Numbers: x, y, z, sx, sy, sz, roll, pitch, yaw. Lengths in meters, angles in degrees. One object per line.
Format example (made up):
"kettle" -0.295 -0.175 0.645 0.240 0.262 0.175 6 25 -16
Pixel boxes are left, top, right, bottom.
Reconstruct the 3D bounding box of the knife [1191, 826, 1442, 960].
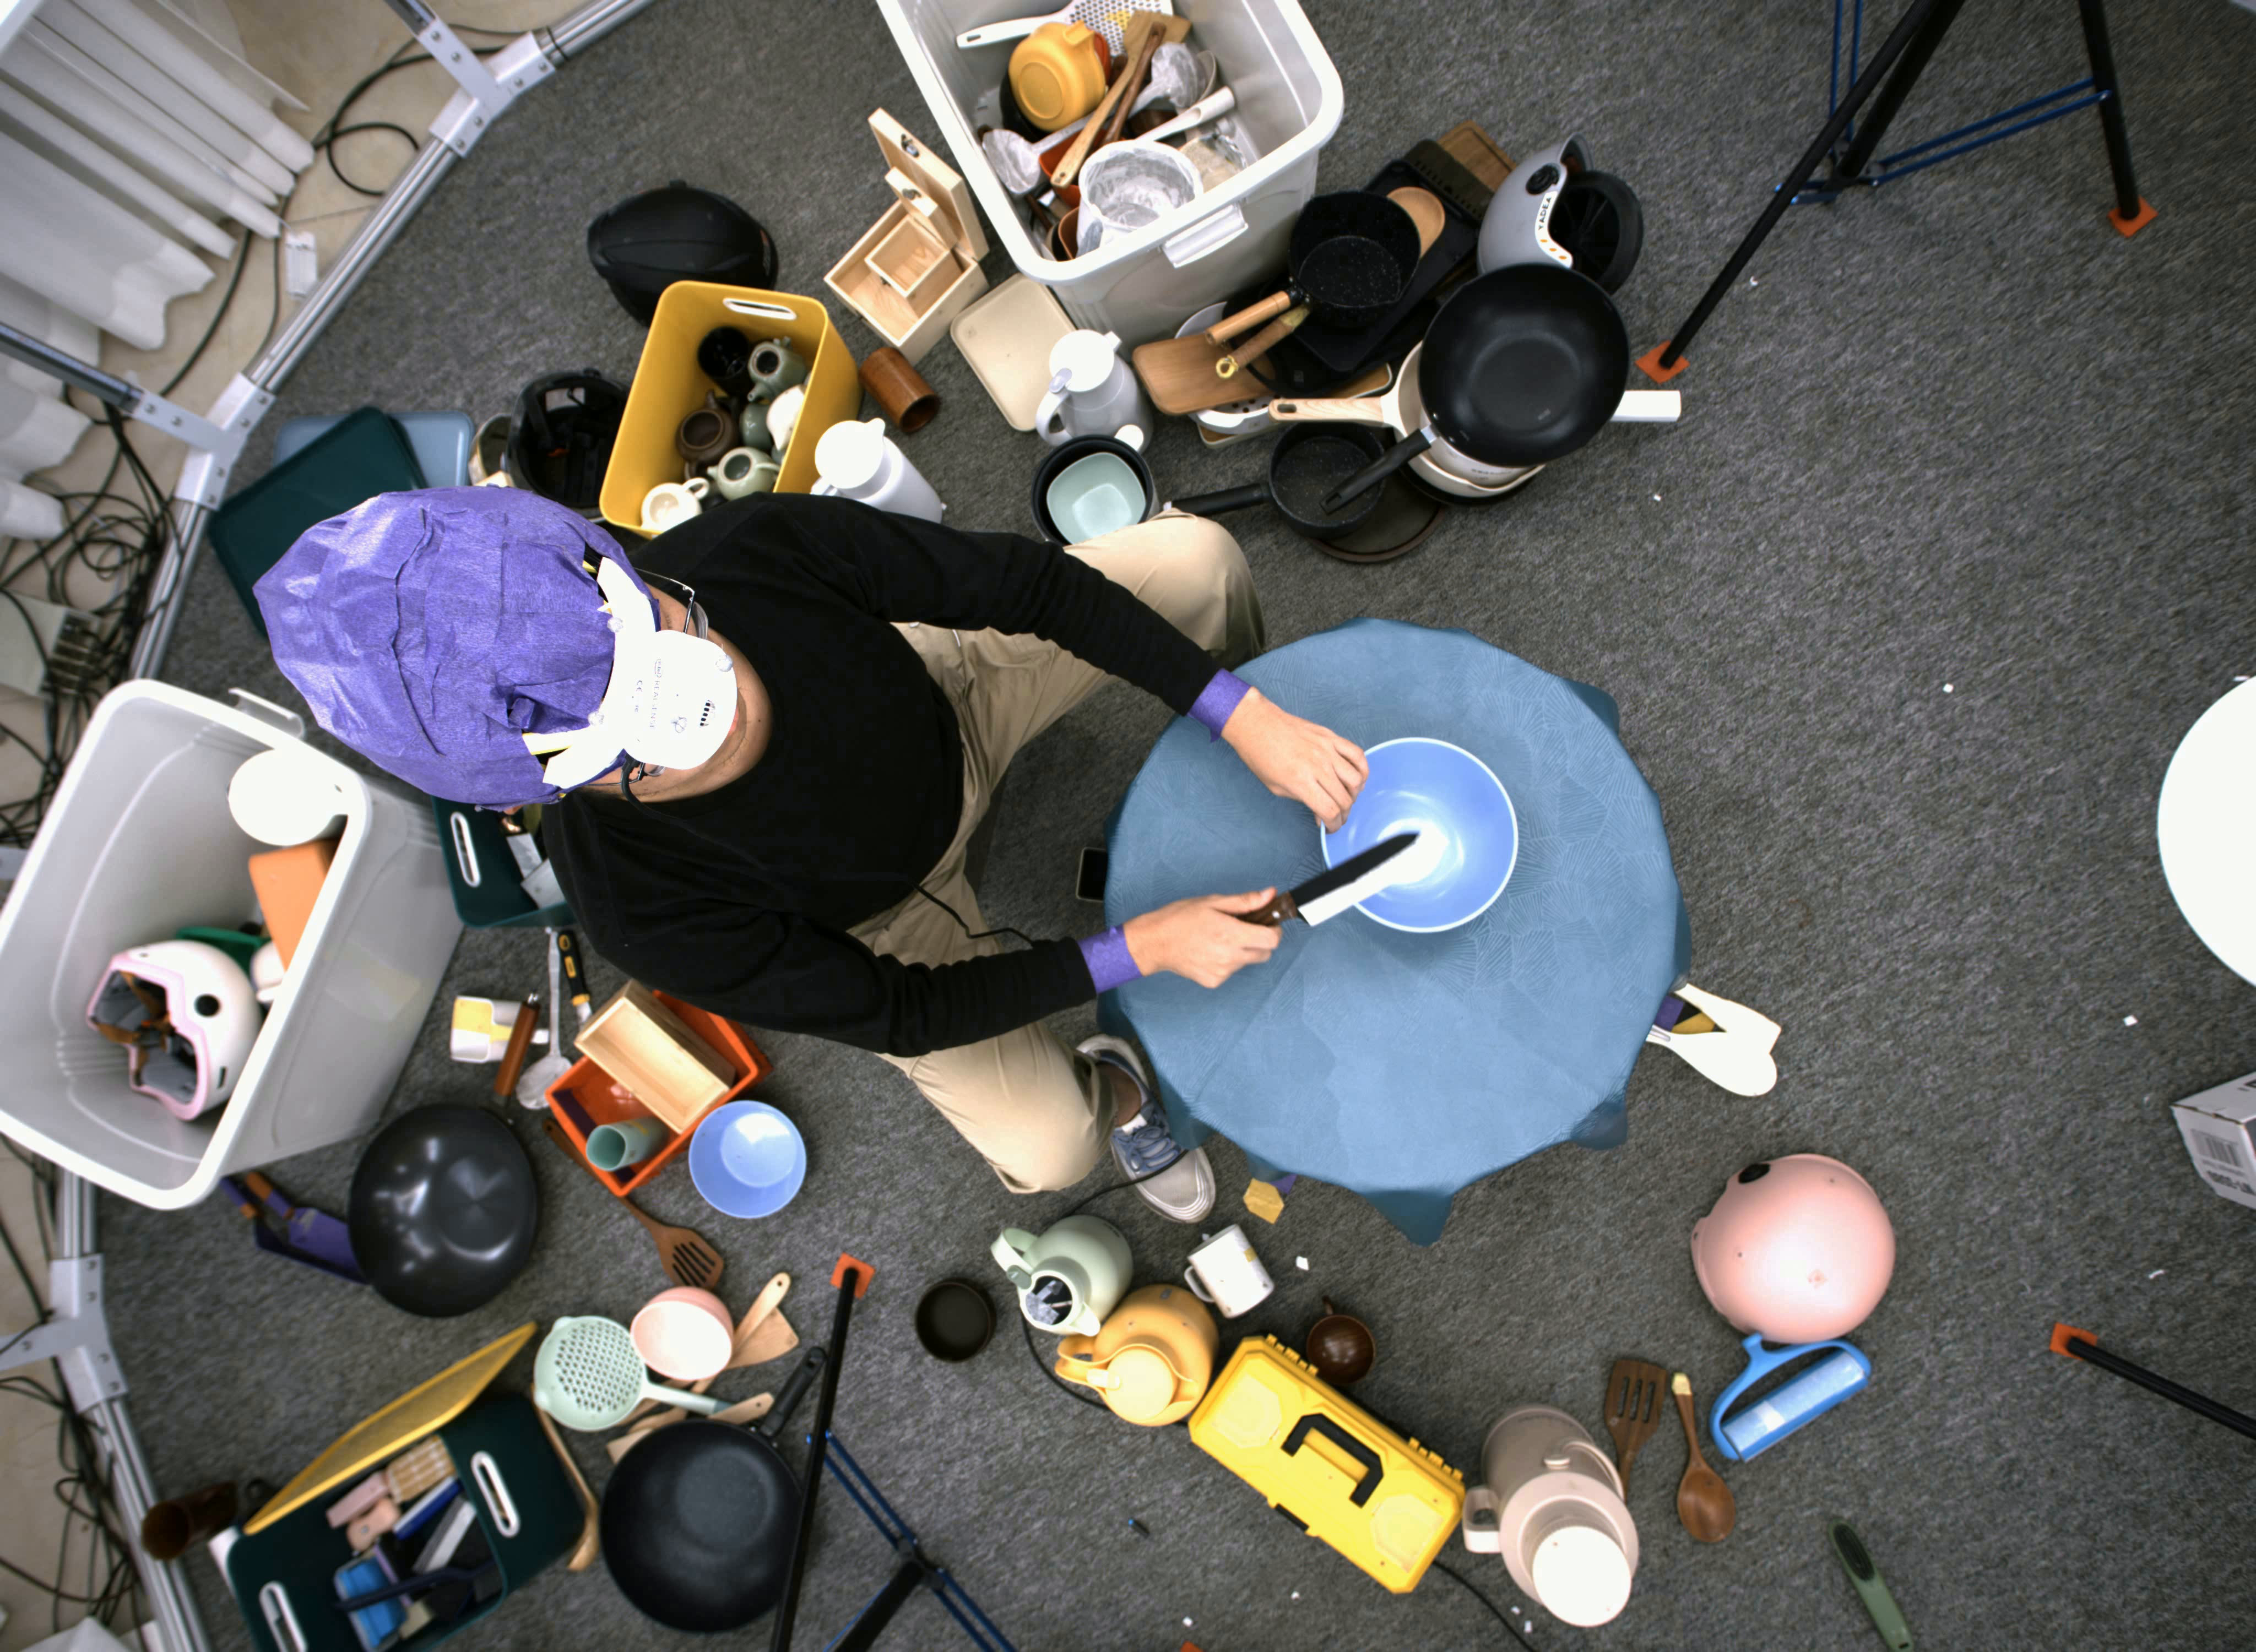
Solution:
"knife" 0.181 0.066 1.360 0.294 0.019 0.050 -29 110 29

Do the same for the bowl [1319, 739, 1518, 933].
"bowl" 0.289 0.016 1.407 0.197 0.096 0.195 -1 81 3
